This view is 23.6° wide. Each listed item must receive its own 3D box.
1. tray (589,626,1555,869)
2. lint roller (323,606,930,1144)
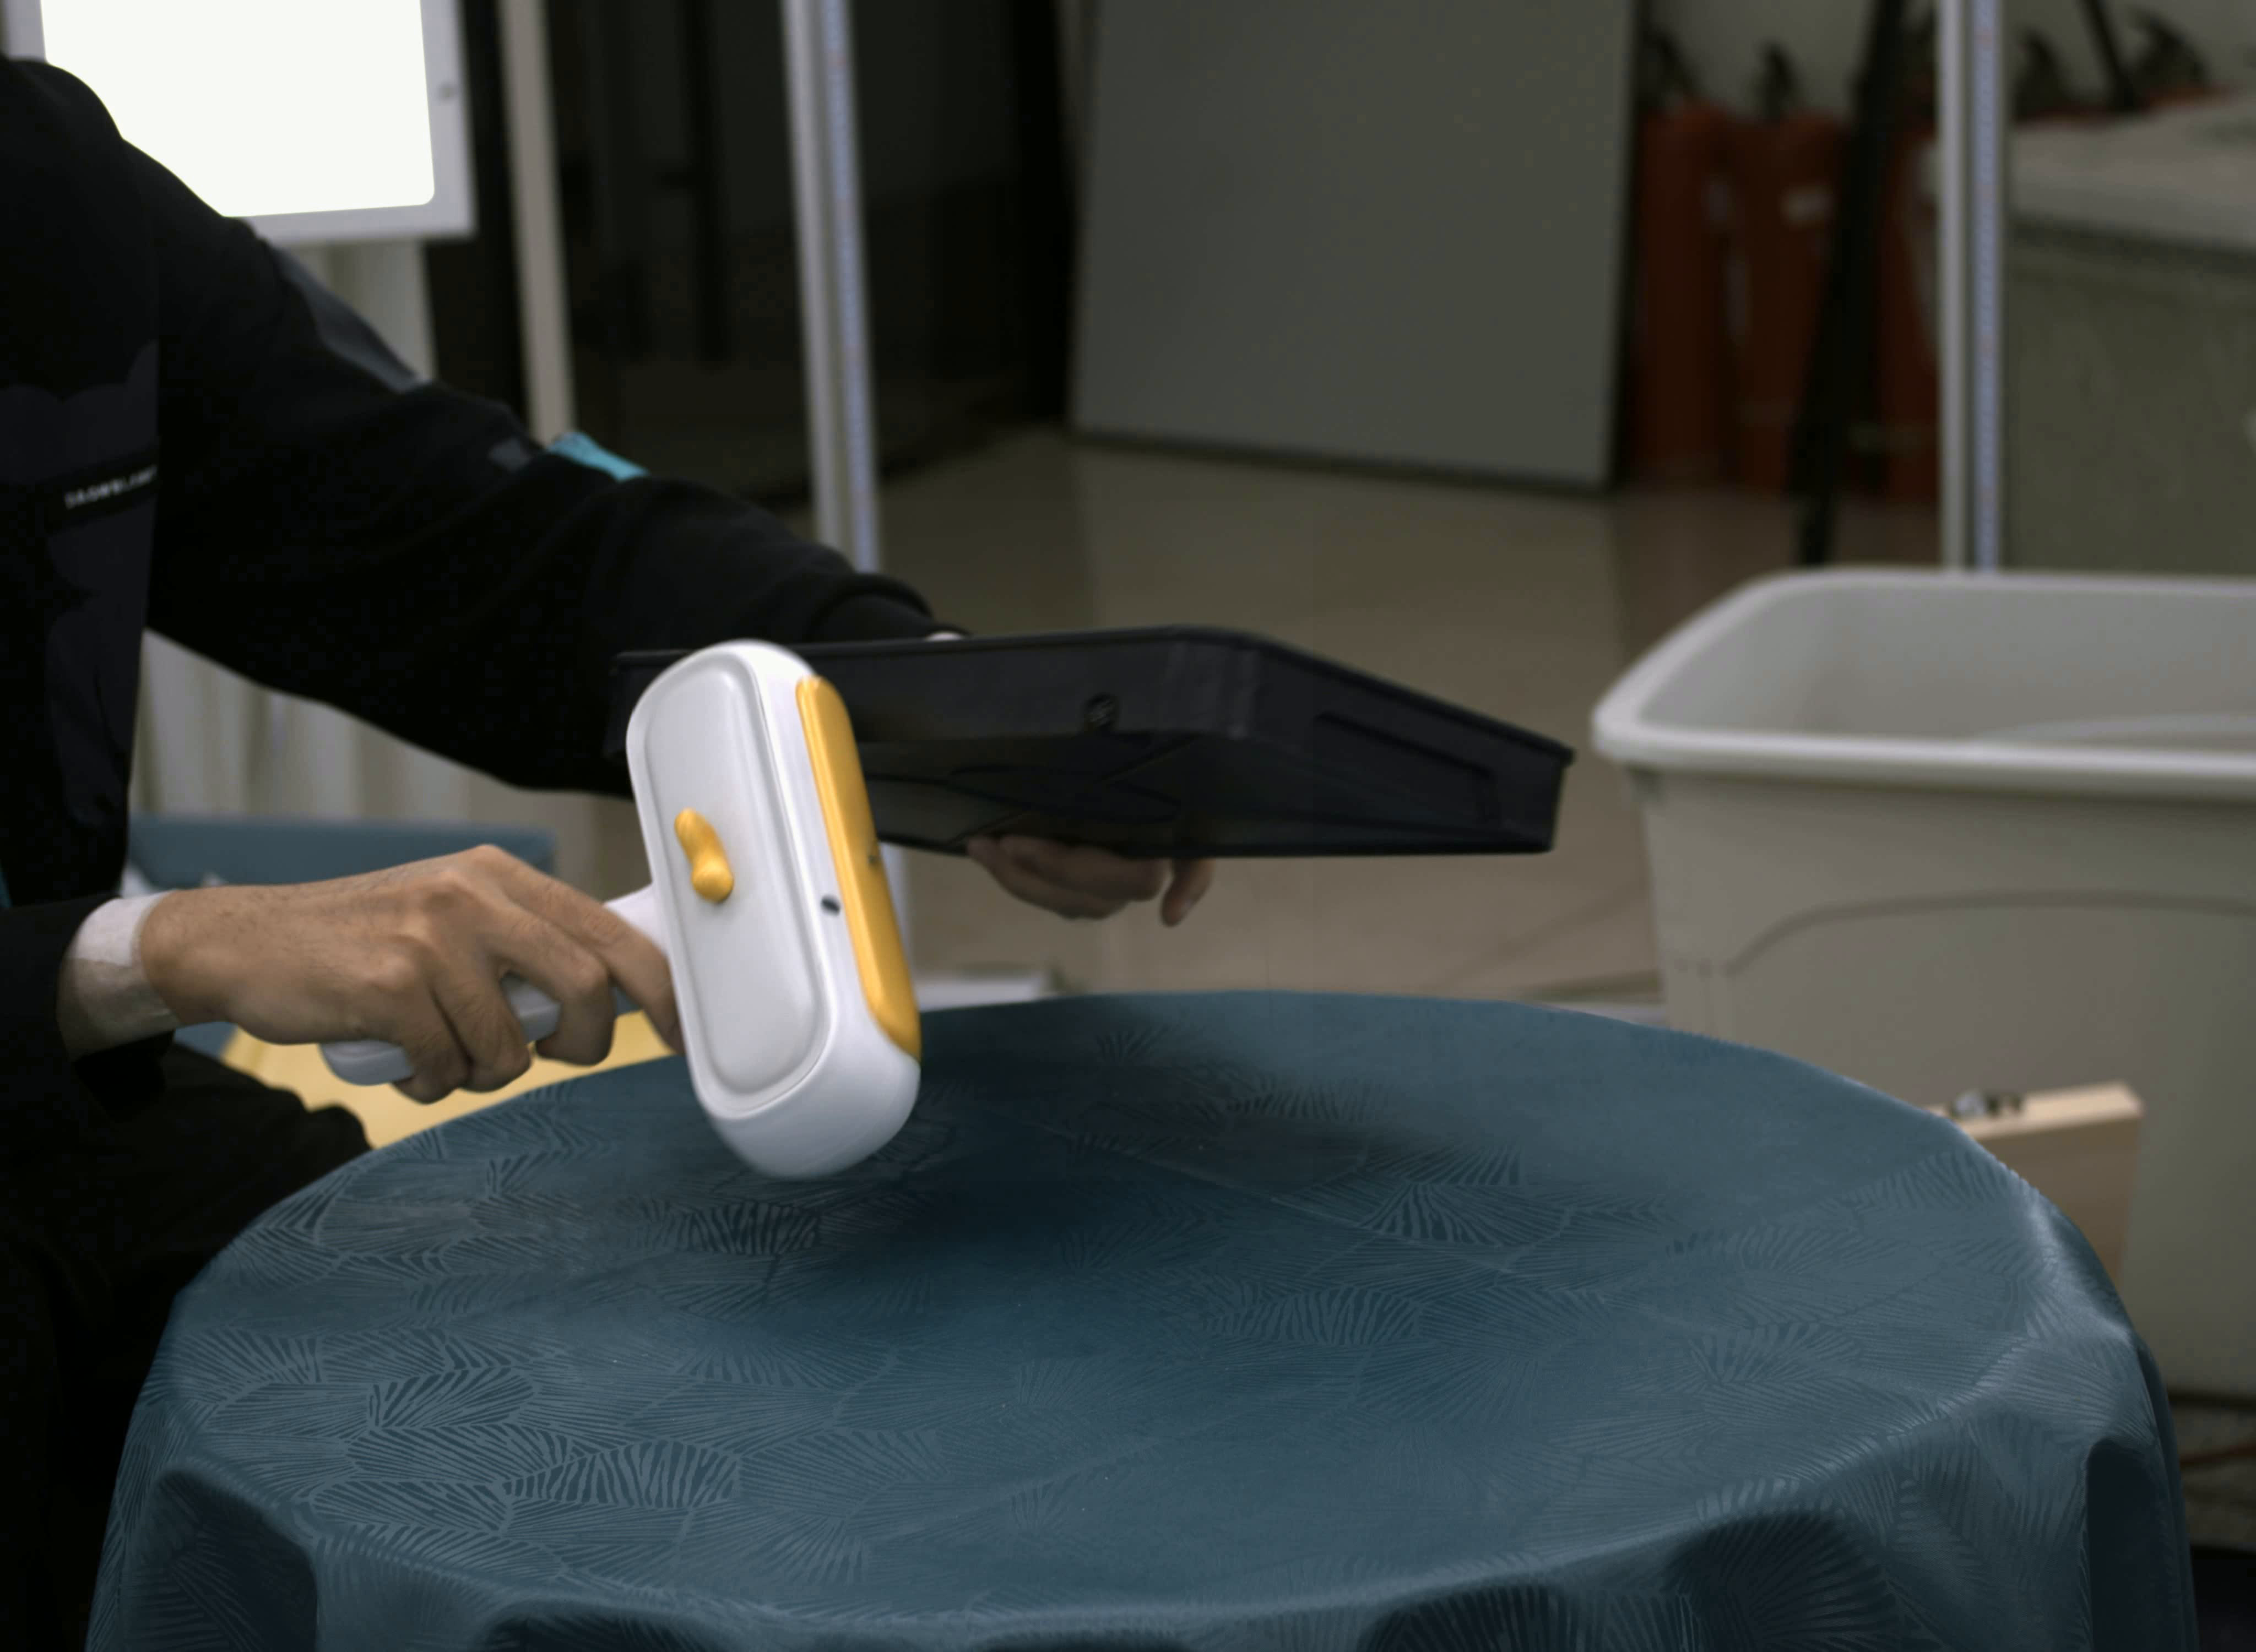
[{"bbox_3d":[-0.025,-0.023,1.829,0.180,0.037,0.321,18,-13,-42],"label":"tray"},{"bbox_3d":[-0.167,0.039,1.741,0.192,0.195,0.073,-29,-33,12],"label":"lint roller"}]
